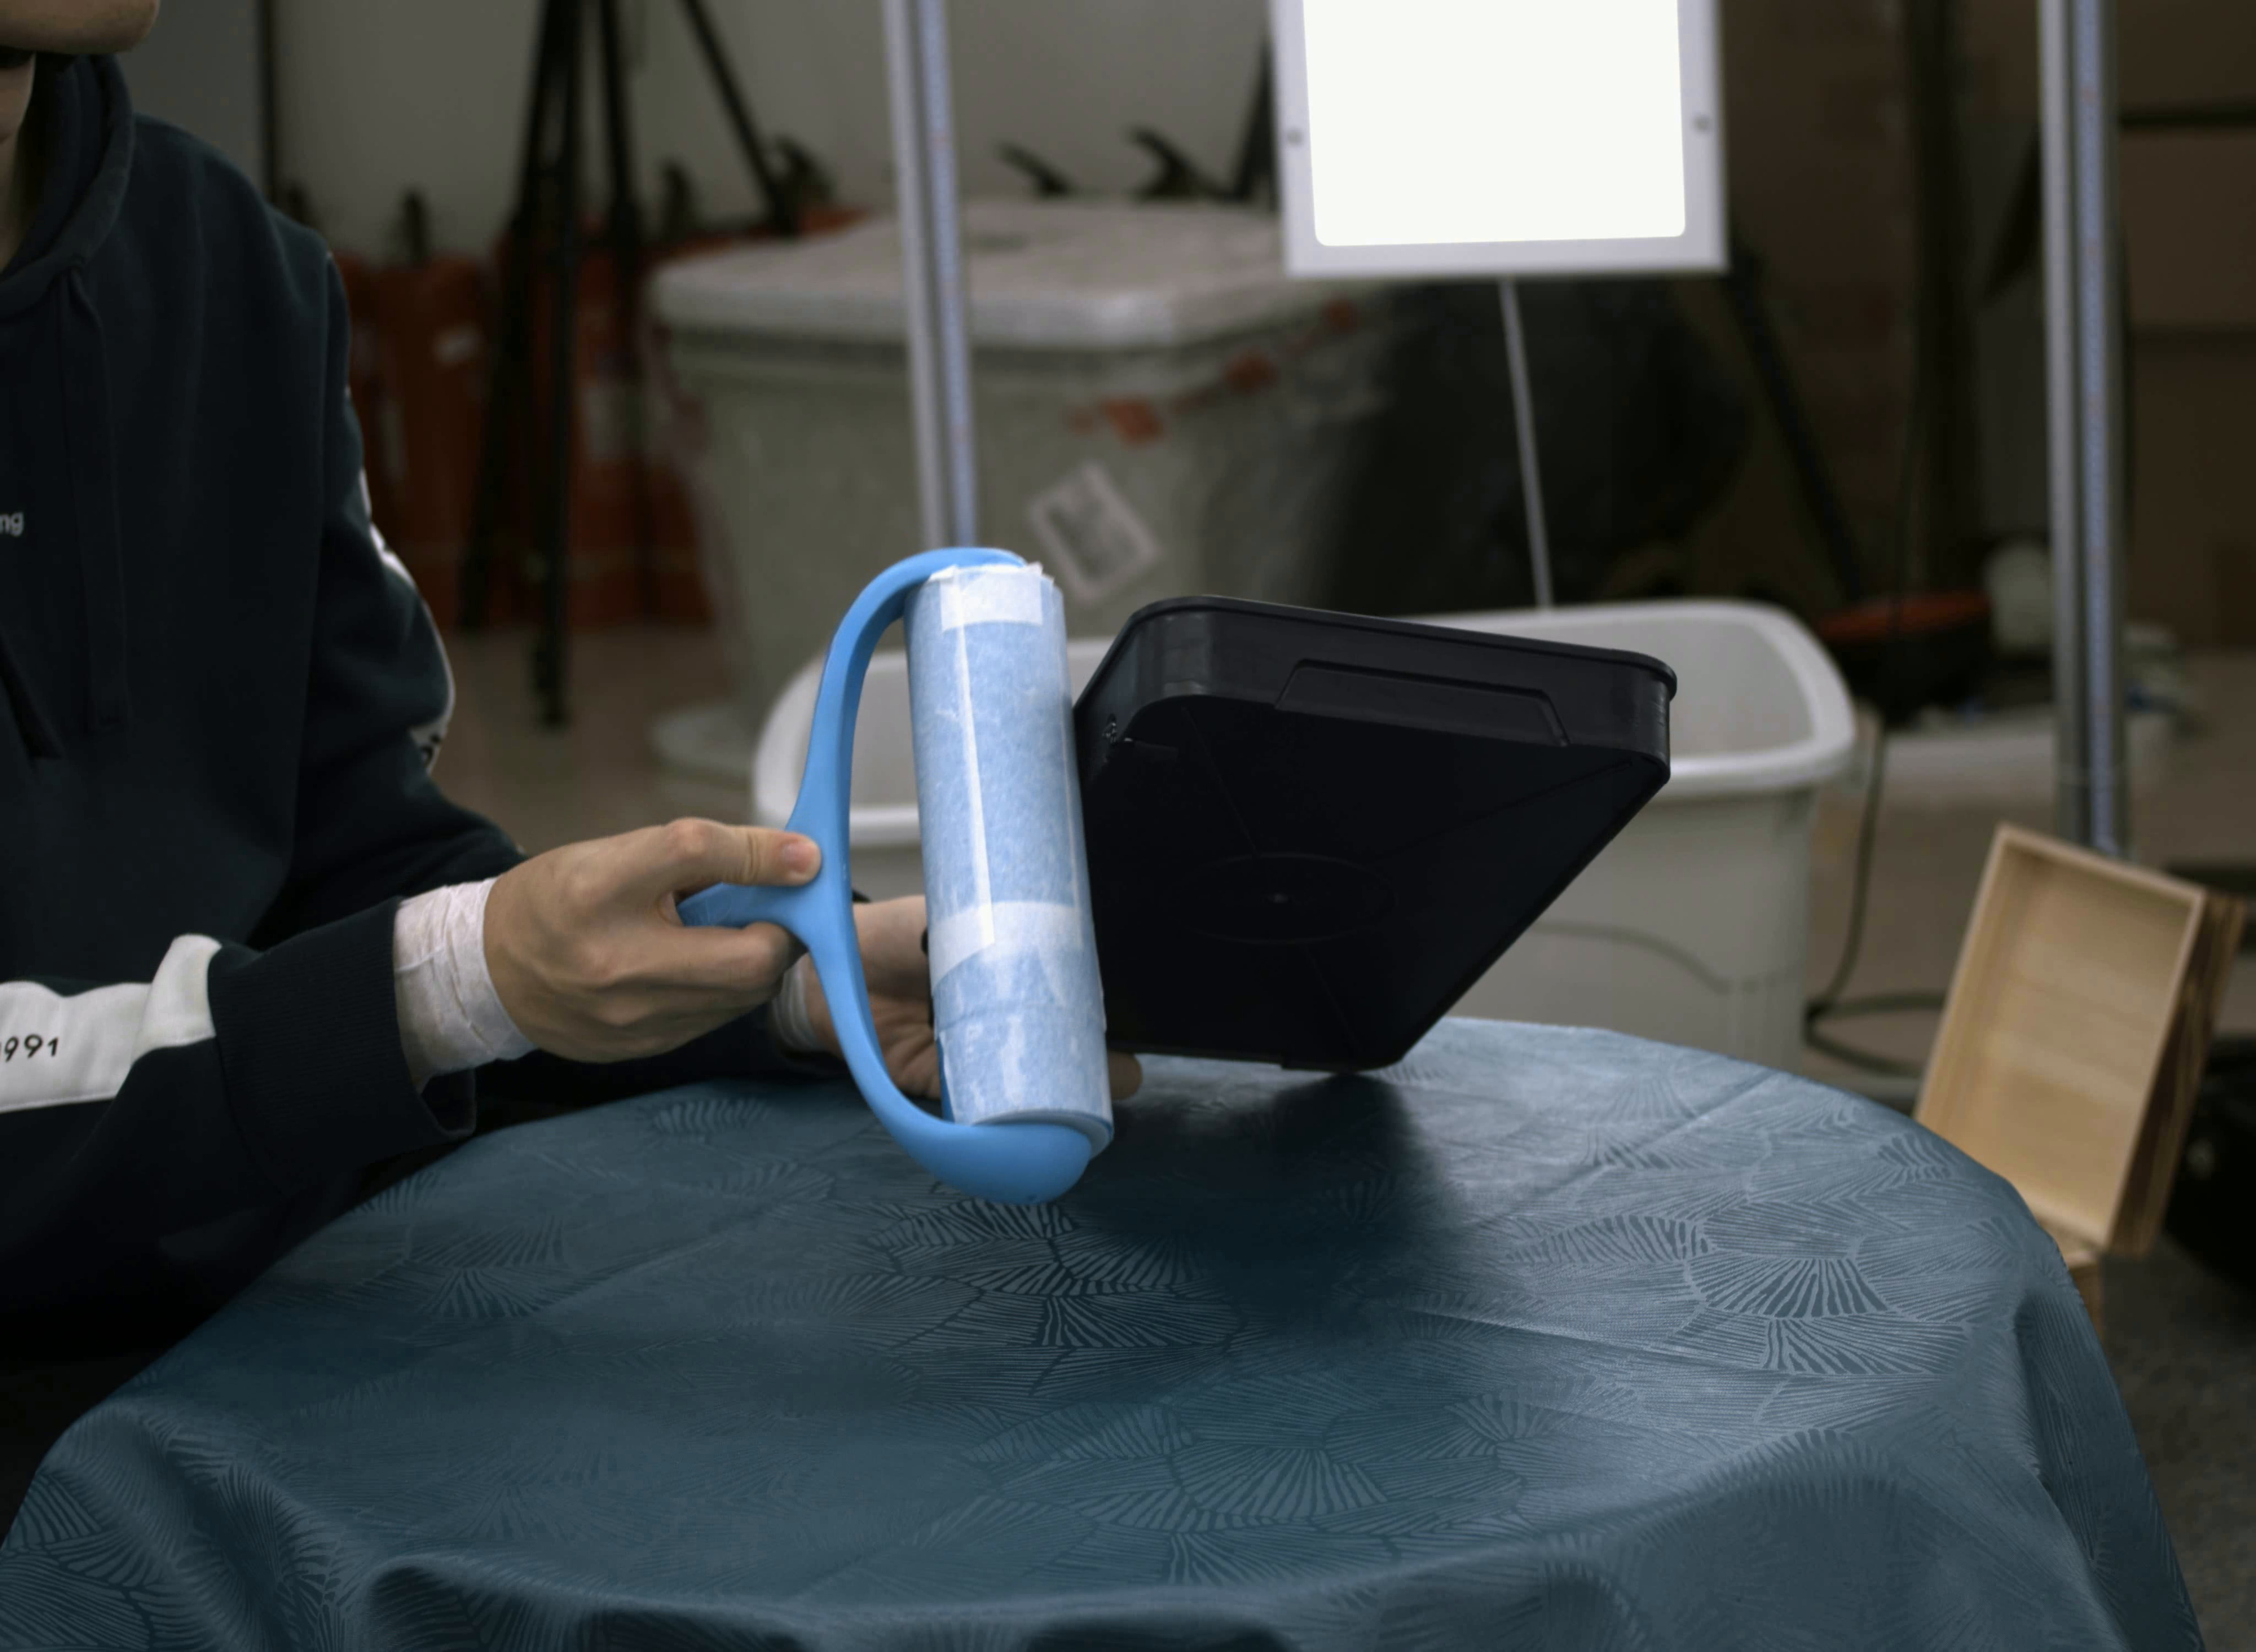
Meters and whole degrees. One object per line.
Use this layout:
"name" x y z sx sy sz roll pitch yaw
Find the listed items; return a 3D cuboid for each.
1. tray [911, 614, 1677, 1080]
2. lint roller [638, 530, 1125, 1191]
"tray" 0.049 0.014 1.863 0.182 0.037 0.322 7 -22 -14
"lint roller" -0.091 0.025 1.774 0.183 0.229 0.067 -18 -27 20
